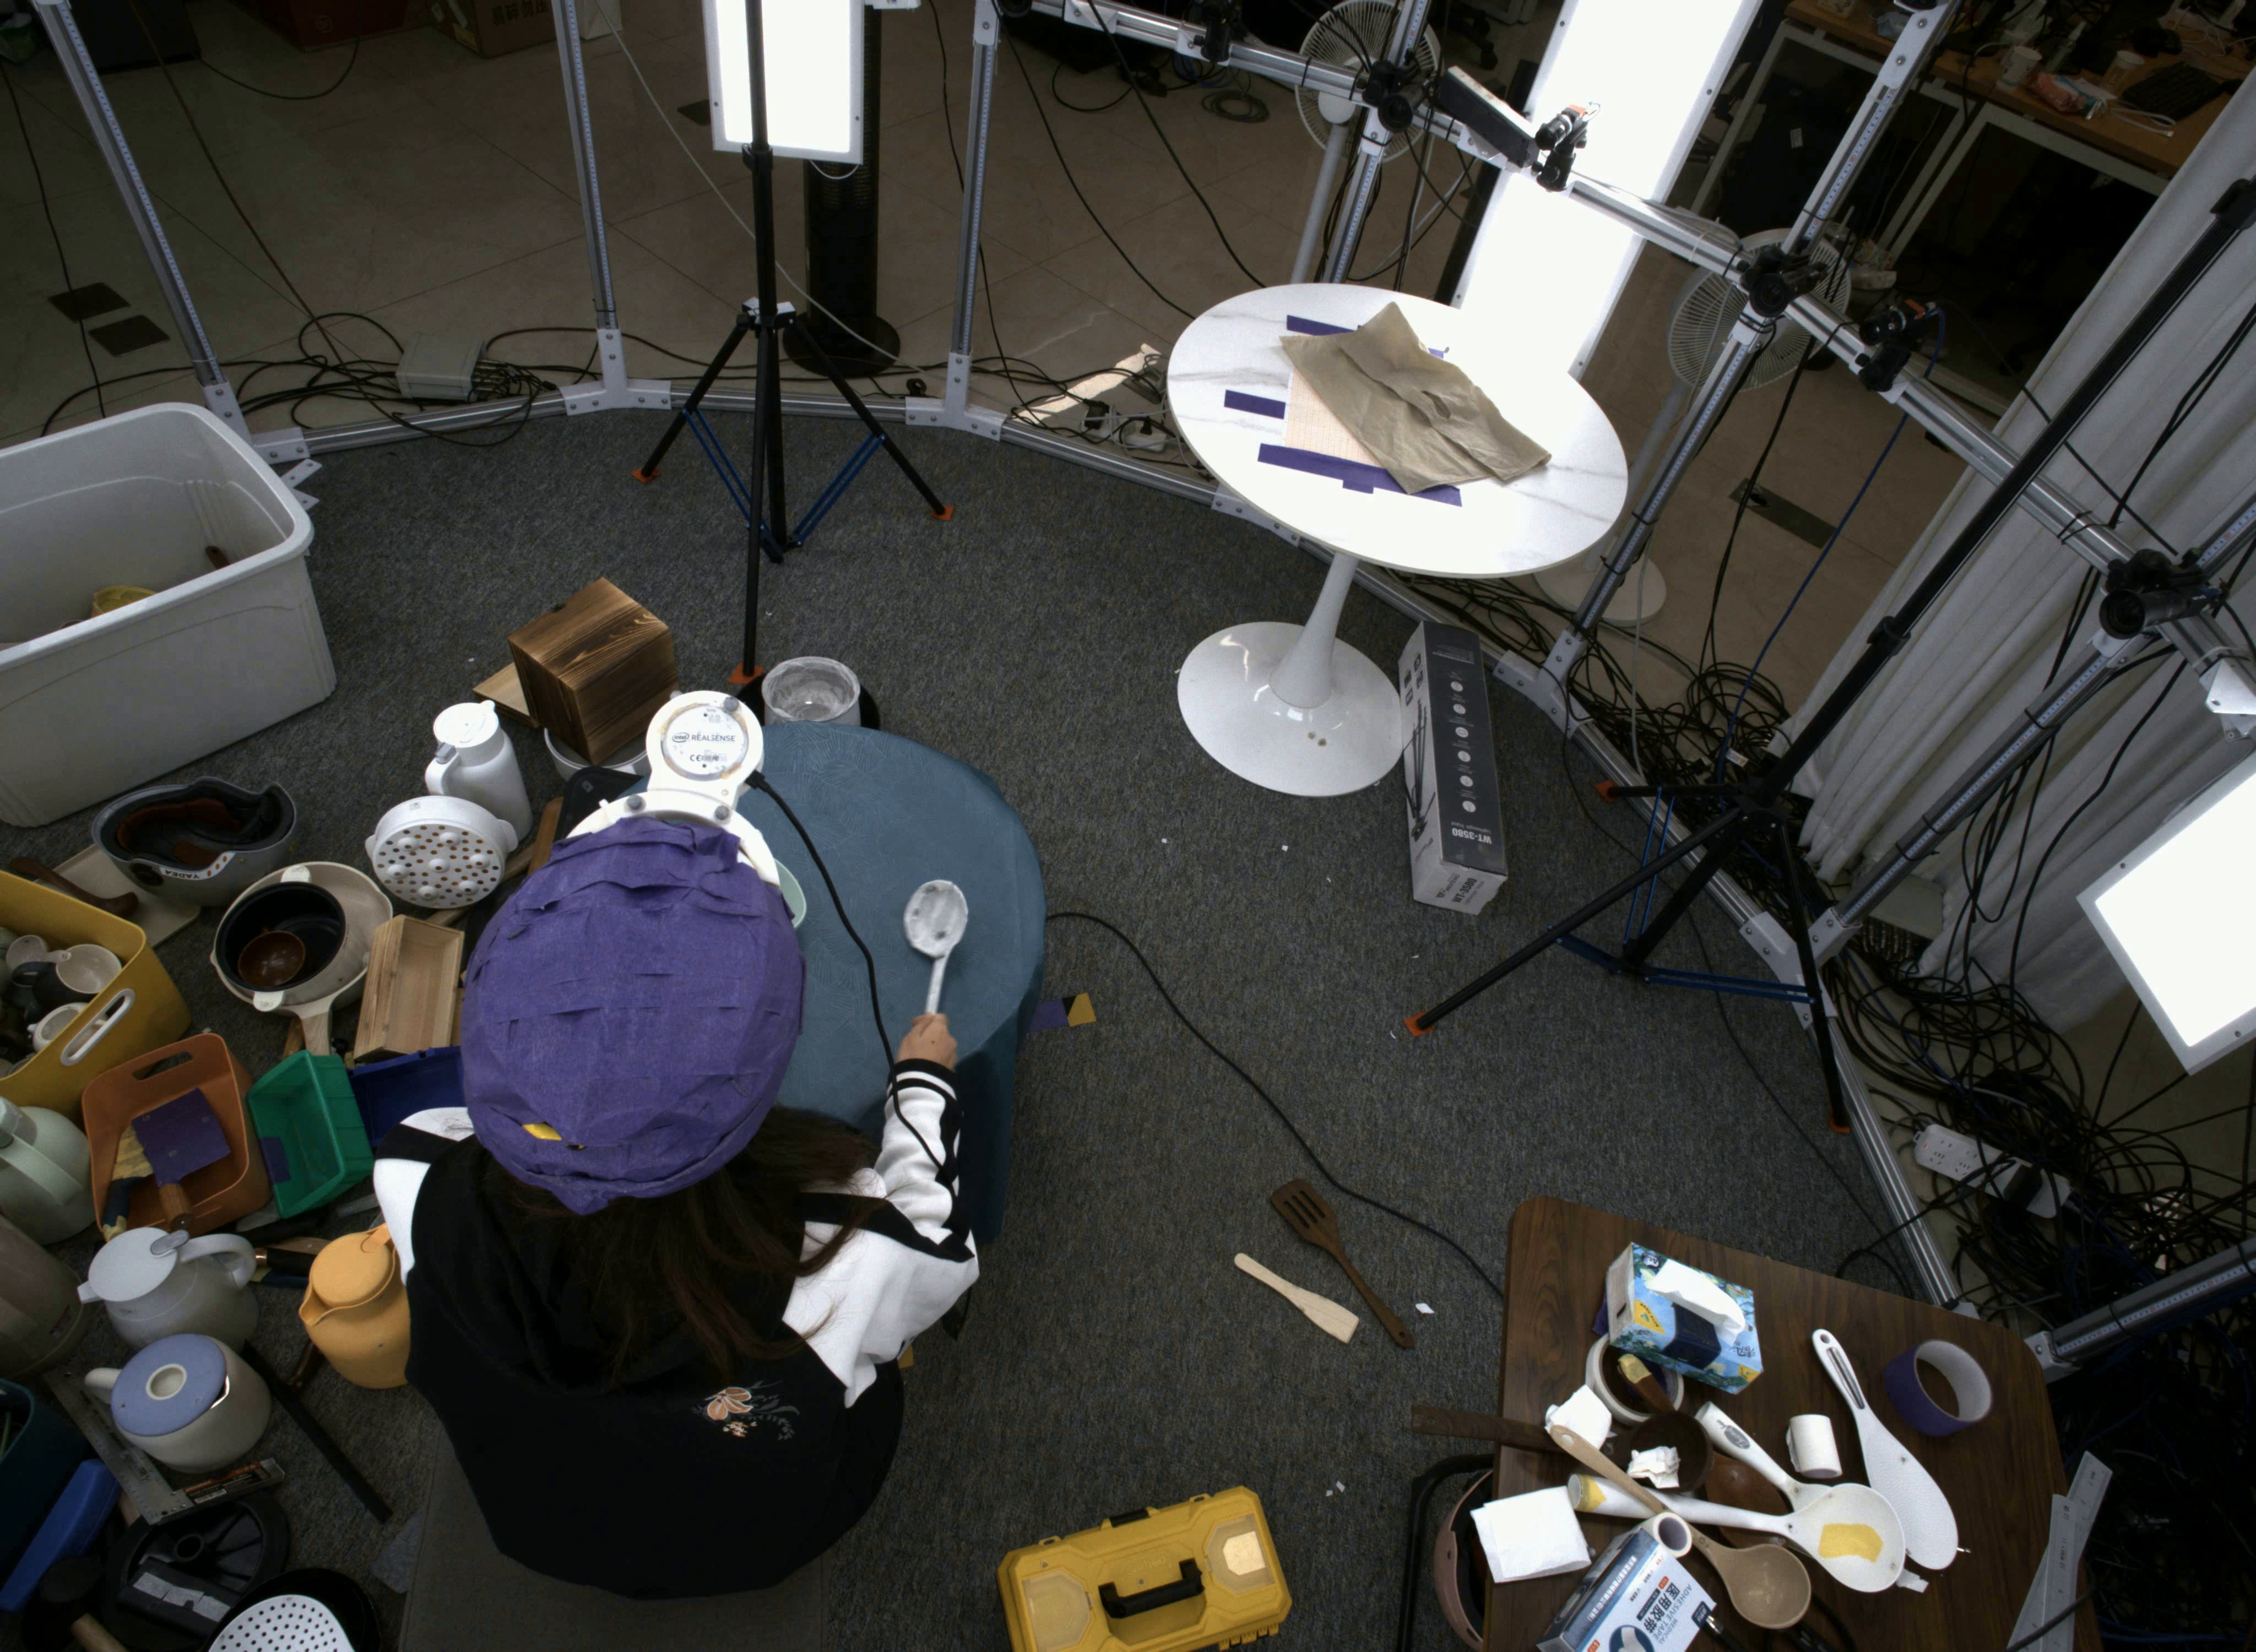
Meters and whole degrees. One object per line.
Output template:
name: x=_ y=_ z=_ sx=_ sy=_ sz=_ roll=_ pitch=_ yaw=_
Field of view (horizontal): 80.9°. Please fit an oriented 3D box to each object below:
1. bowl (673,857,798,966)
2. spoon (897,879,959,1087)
bowl: x=-0.480 y=0.113 z=1.586 sx=0.151 sy=0.060 sz=0.149 roll=8 pitch=52 yaw=-8
spoon: x=-0.259 y=0.183 z=1.563 sx=0.061 sy=0.099 sz=0.272 roll=42 pitch=36 yaw=-30
